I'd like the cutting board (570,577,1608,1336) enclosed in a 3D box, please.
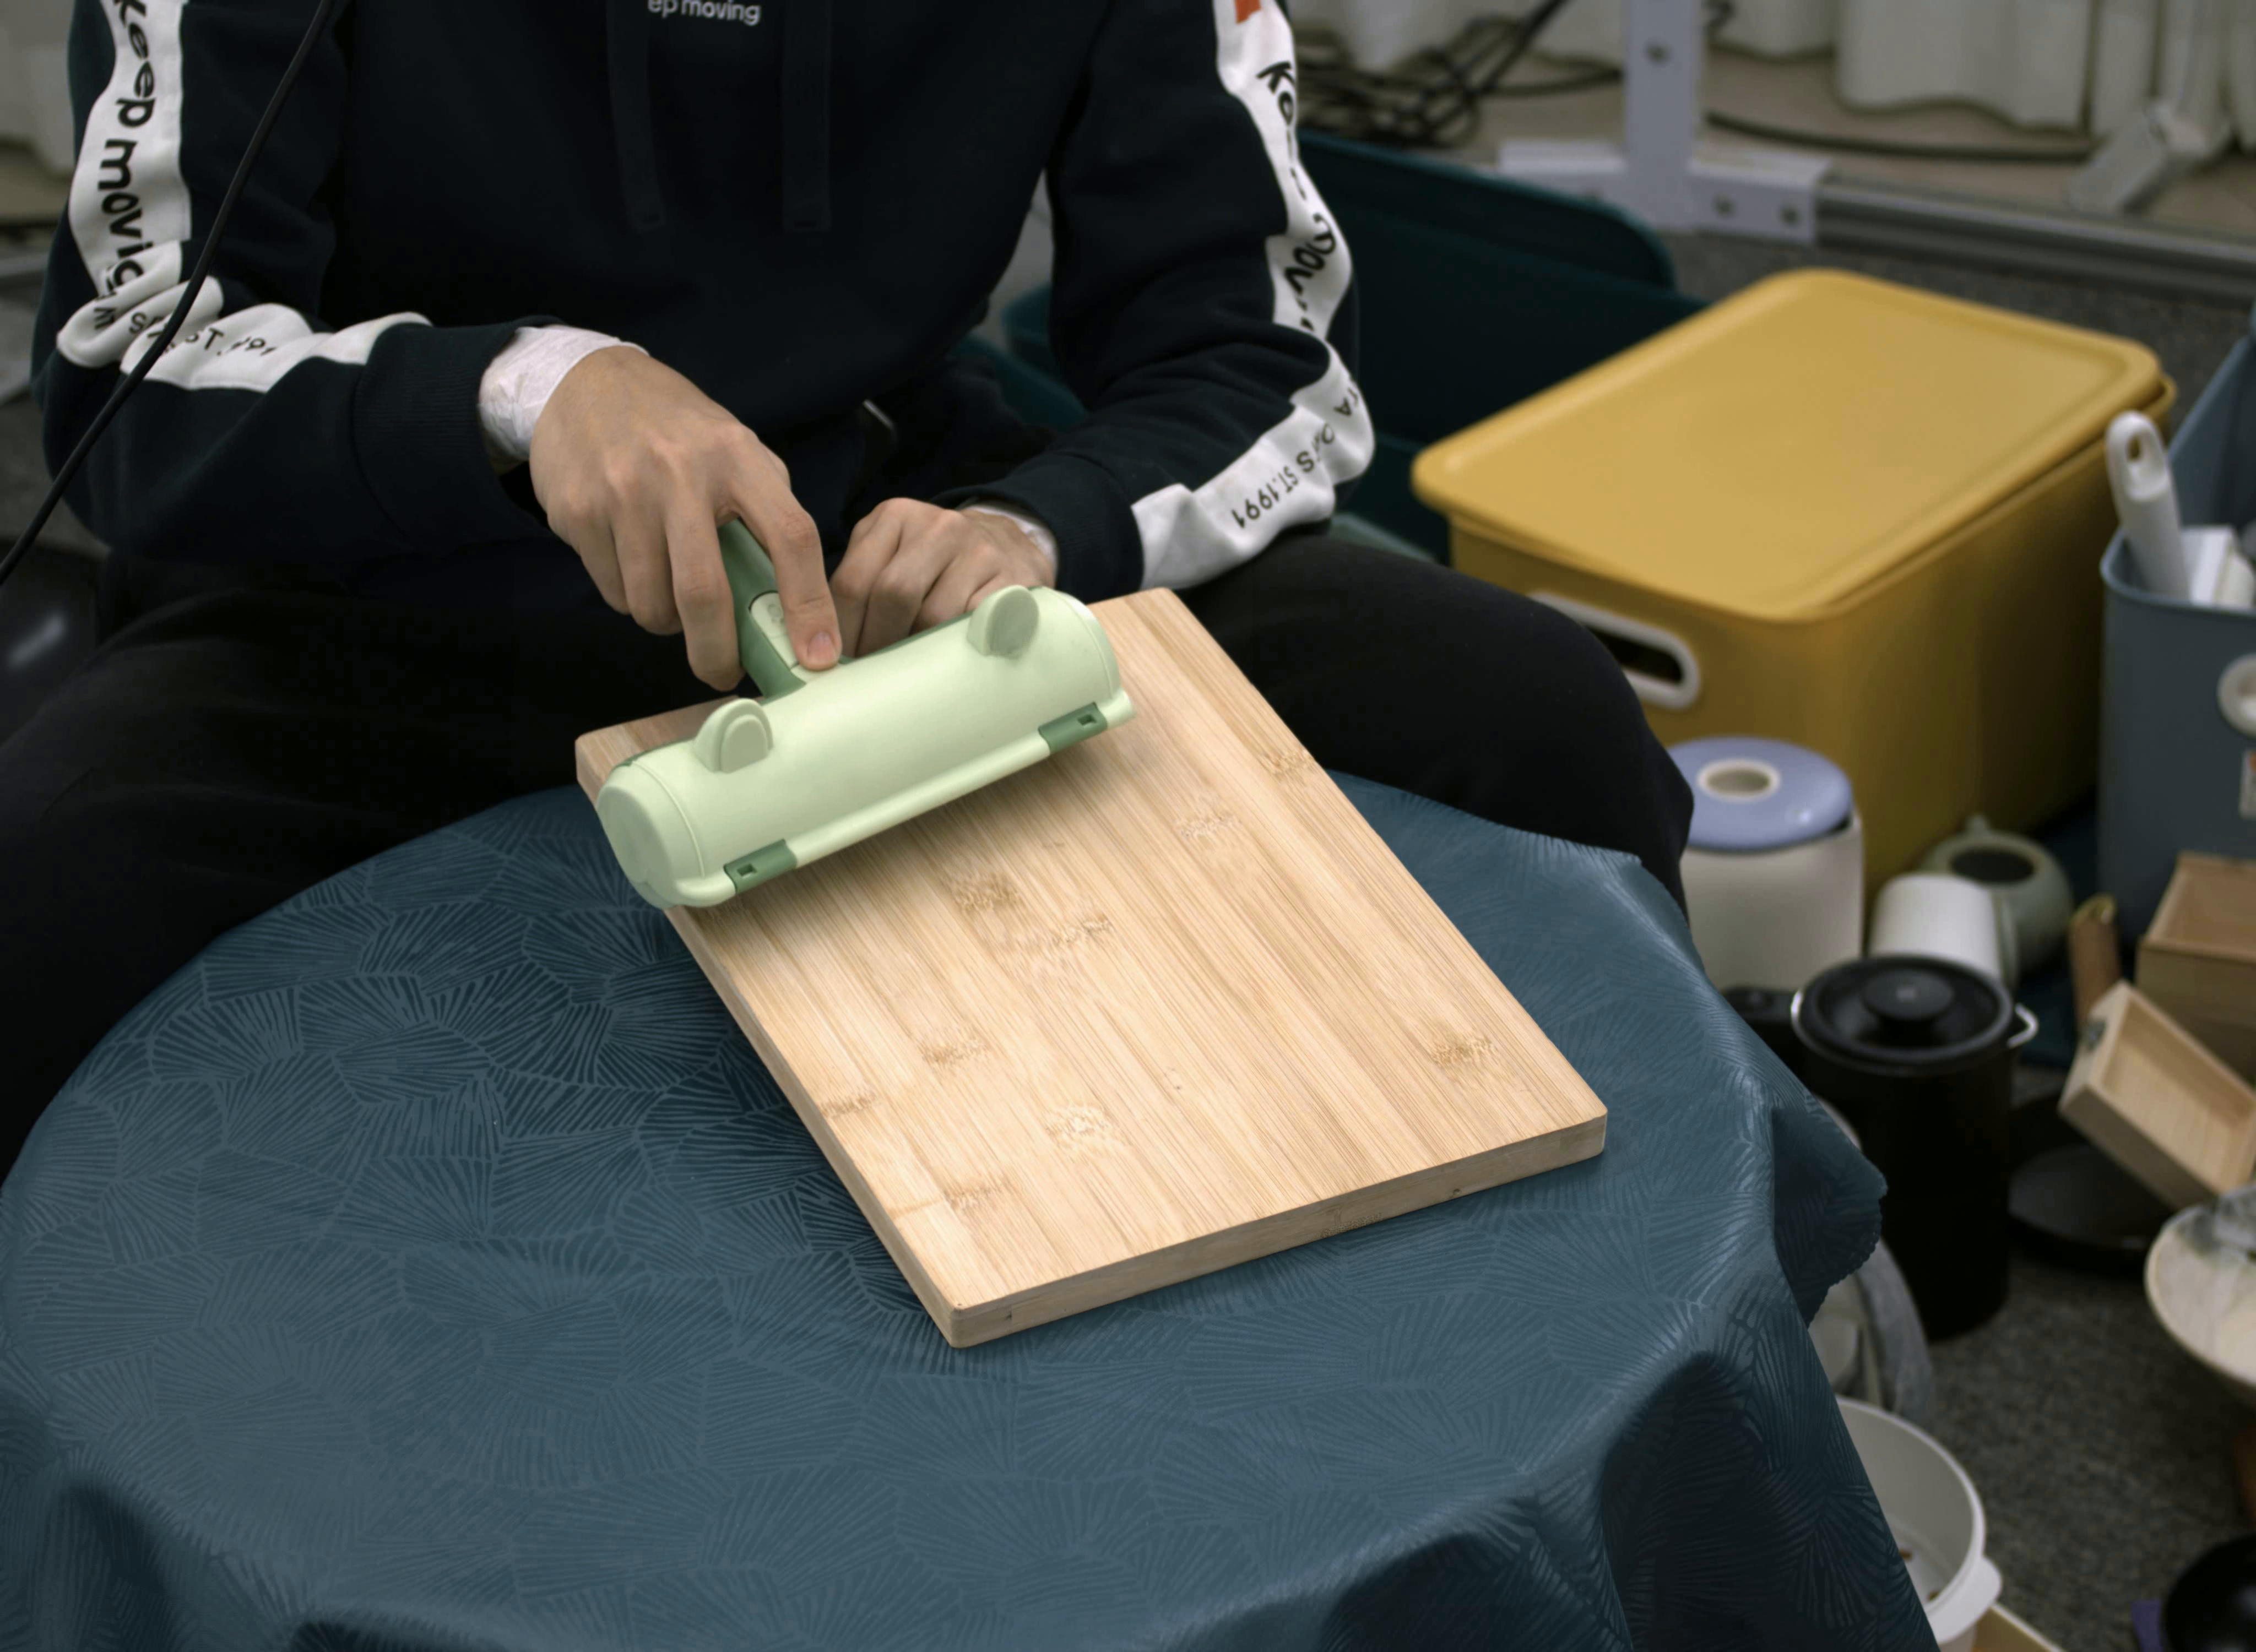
[{"bbox_3d":[-0.021,0.037,1.947,0.252,0.023,0.352,-15,39,-22],"label":"cutting board"}]

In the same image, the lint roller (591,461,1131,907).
[{"bbox_3d":[-0.122,-0.075,1.981,0.200,0.081,0.185,-24,67,-30],"label":"lint roller"}]
